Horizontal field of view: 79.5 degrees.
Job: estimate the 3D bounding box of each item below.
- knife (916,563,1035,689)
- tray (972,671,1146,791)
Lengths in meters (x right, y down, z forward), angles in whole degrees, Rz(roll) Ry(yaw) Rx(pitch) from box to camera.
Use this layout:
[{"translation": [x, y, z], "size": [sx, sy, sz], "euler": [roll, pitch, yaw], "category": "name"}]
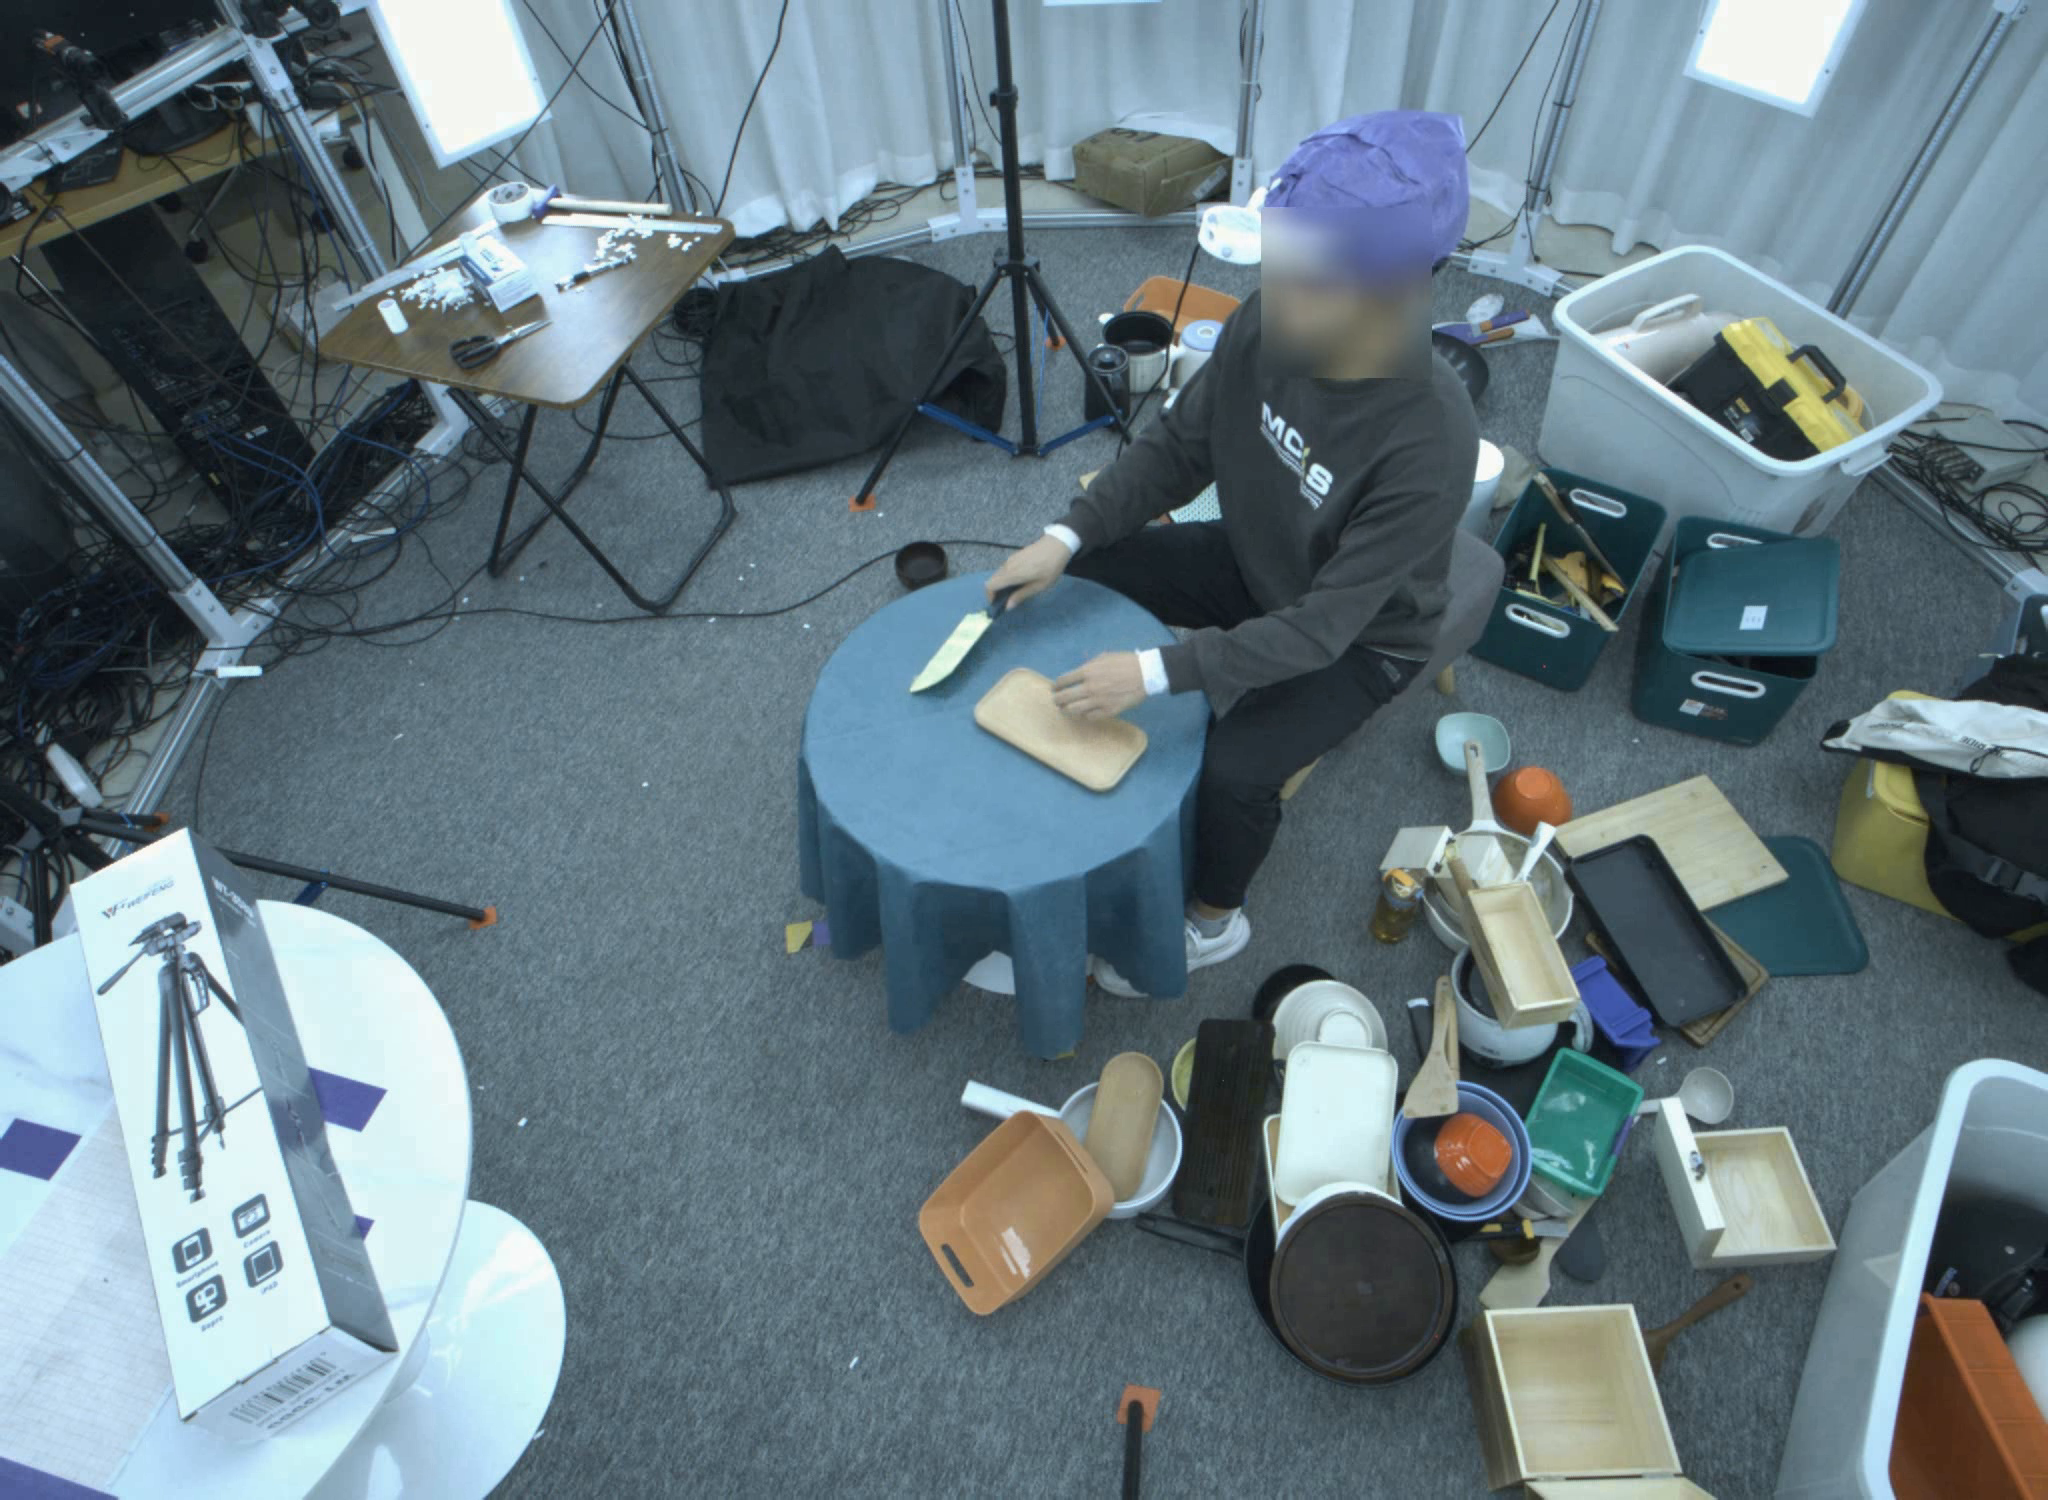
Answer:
[{"translation": [-0.077, -0.193, 1.907], "size": [0.079, 0.028, 0.290], "euler": [11, 53, 45], "category": "knife"}, {"translation": [0.050, -0.030, 1.810], "size": [0.246, 0.023, 0.131], "euler": [28, 57, 23], "category": "tray"}]
